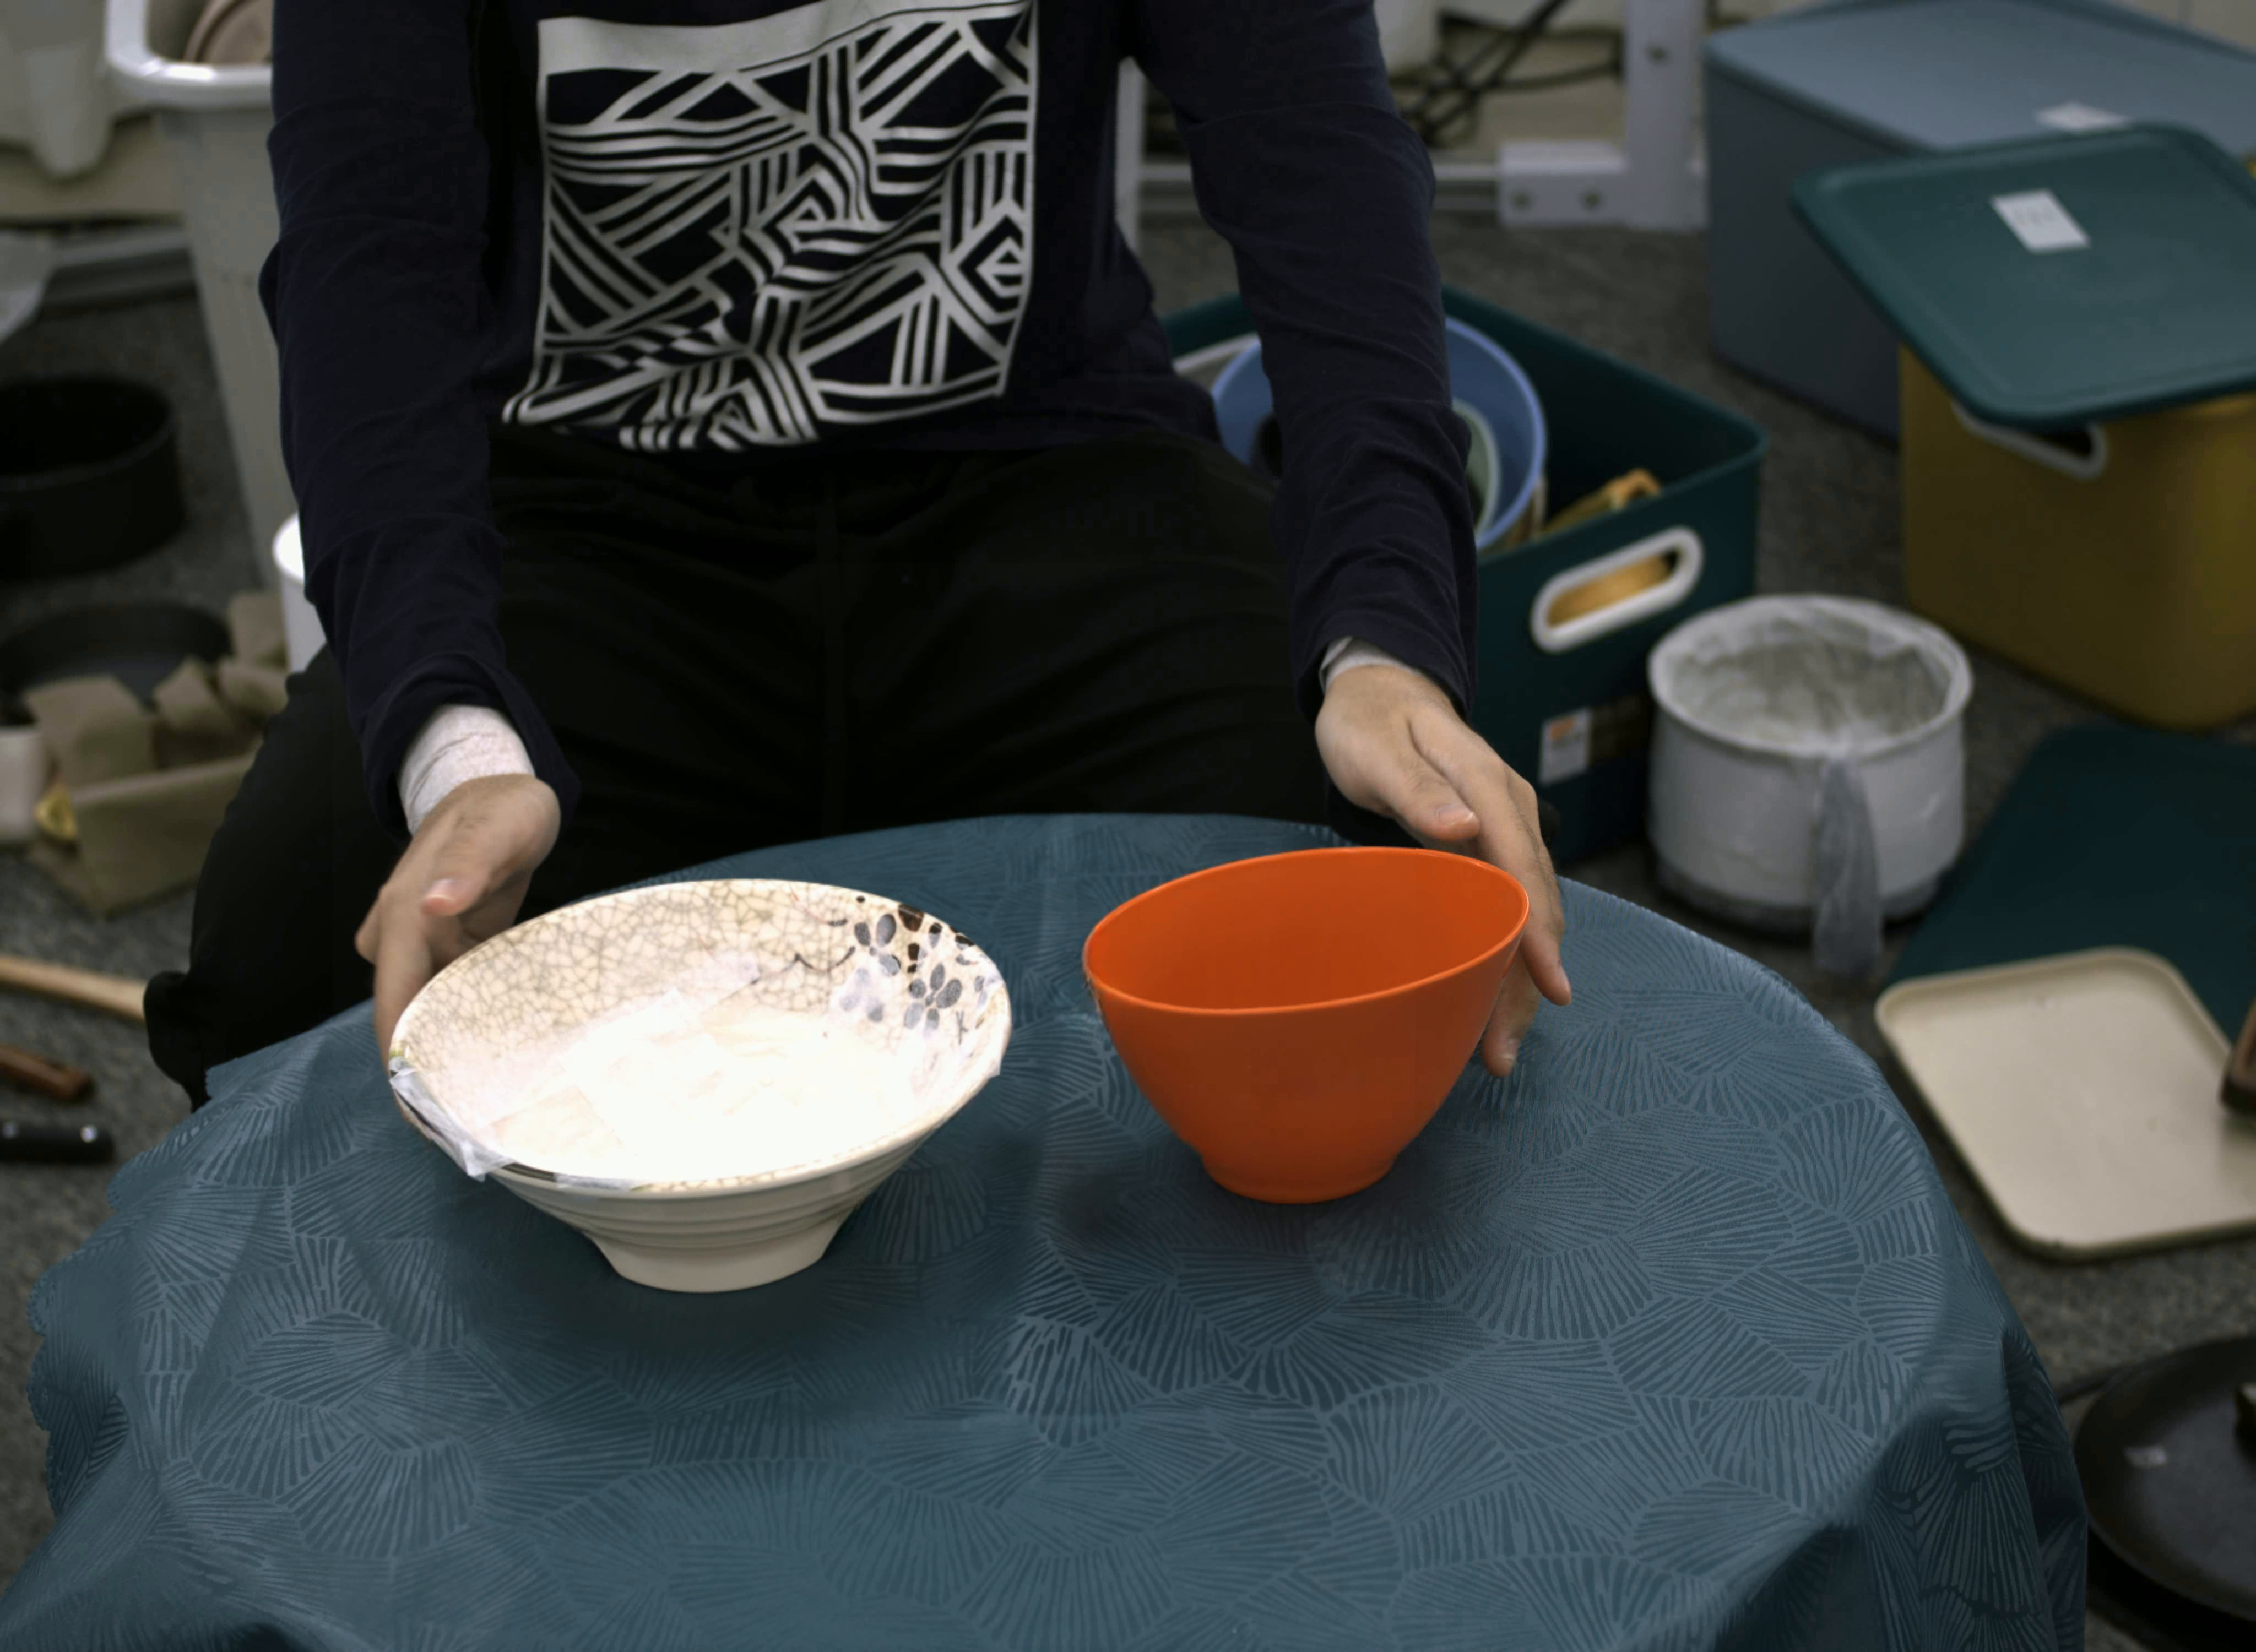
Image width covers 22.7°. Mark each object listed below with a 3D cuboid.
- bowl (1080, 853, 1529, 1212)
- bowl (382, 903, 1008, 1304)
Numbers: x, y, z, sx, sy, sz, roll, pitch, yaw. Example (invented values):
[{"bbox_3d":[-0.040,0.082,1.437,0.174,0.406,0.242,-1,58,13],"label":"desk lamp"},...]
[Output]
[{"bbox_3d":[0.059,0.071,1.848,0.147,0.103,0.150,-3,25,2],"label":"bowl"},{"bbox_3d":[-0.139,0.102,1.836,0.203,0.077,0.207,-1,23,1],"label":"bowl"}]
